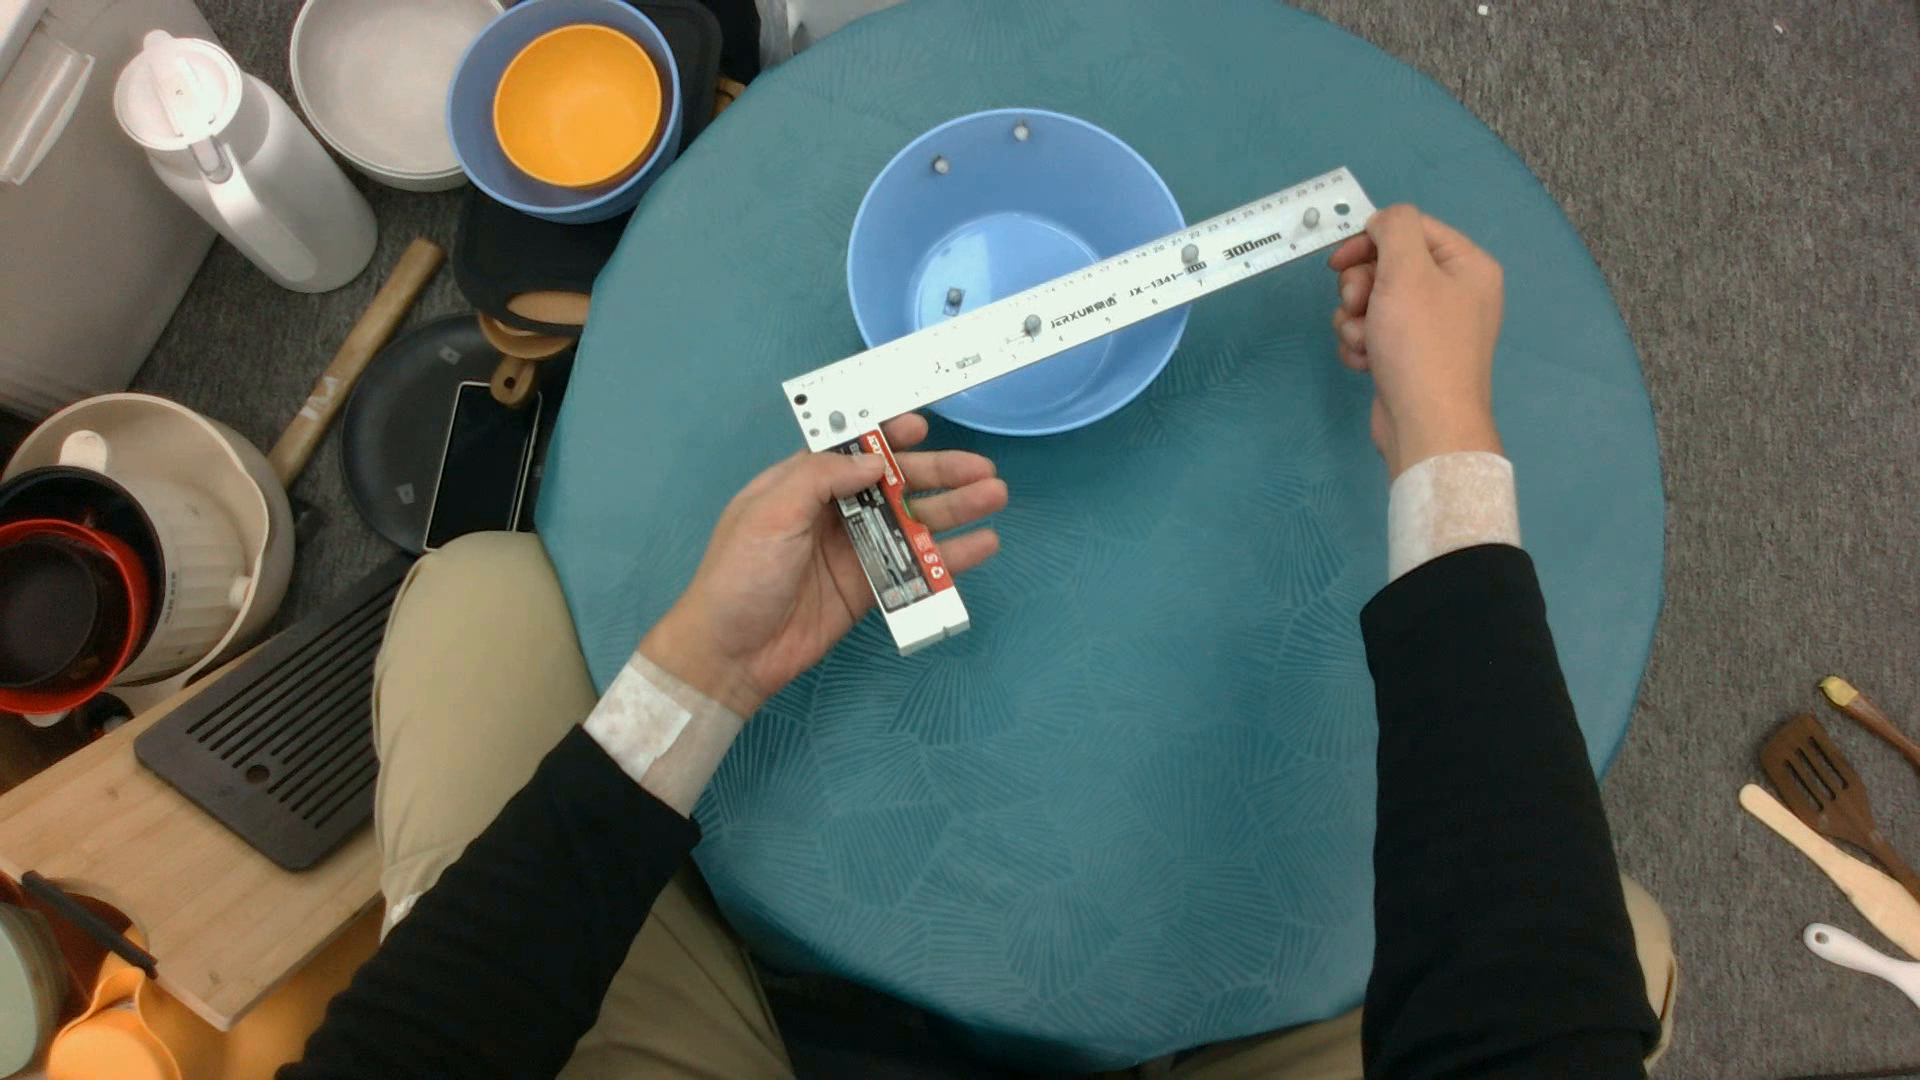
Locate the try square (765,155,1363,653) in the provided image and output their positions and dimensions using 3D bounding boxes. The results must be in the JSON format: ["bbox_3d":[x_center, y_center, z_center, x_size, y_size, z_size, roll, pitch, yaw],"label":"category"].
[{"bbox_3d":[0.076,-0.074,0.655,0.313,0.016,0.152,-23,69,-9],"label":"try square"}]

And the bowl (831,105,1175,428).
[{"bbox_3d":[0.021,-0.134,0.726,0.176,0.070,0.176,1,77,-4],"label":"bowl"}]
